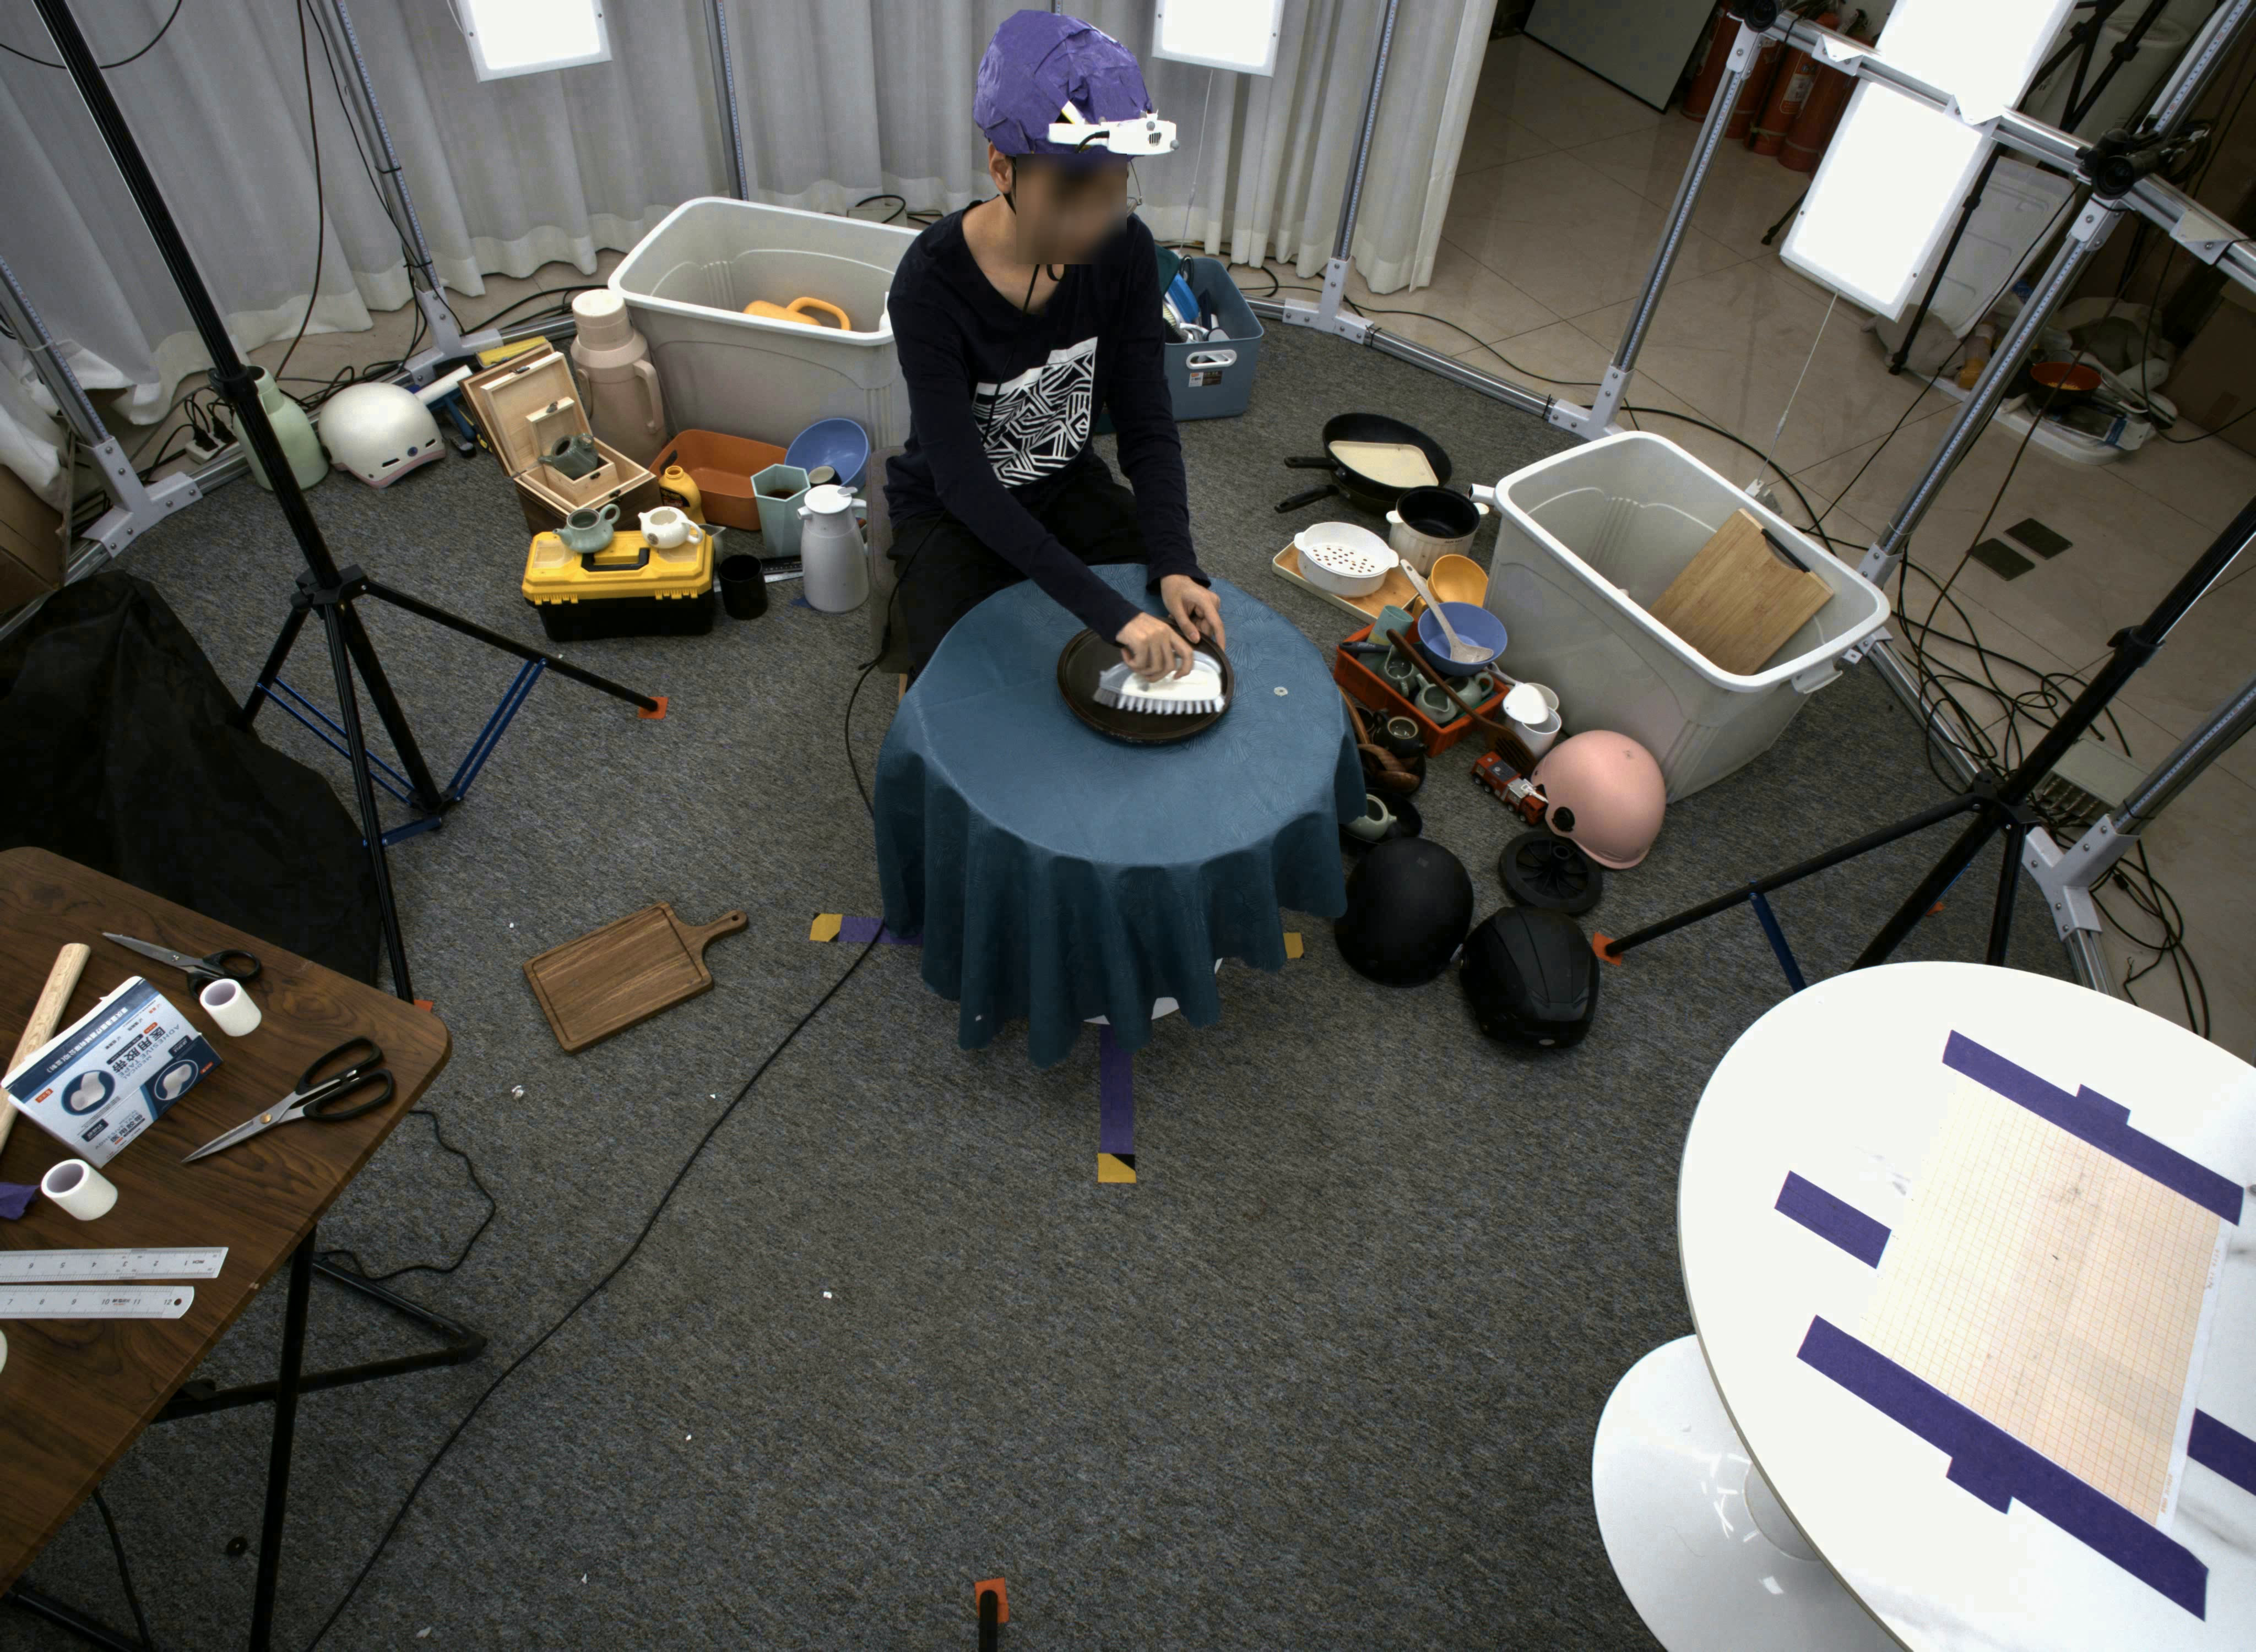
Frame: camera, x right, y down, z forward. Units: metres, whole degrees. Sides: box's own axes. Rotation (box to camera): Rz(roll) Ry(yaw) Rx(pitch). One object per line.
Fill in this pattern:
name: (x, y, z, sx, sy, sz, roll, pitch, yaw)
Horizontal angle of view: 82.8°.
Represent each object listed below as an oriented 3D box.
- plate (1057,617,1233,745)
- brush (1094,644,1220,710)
plate: (0.024, -0.209, 1.836, 0.254, 0.028, 0.261, 2, 50, -3)
brush: (0.040, -0.208, 1.762, 0.175, 0.092, 0.063, 2, 46, 3)
